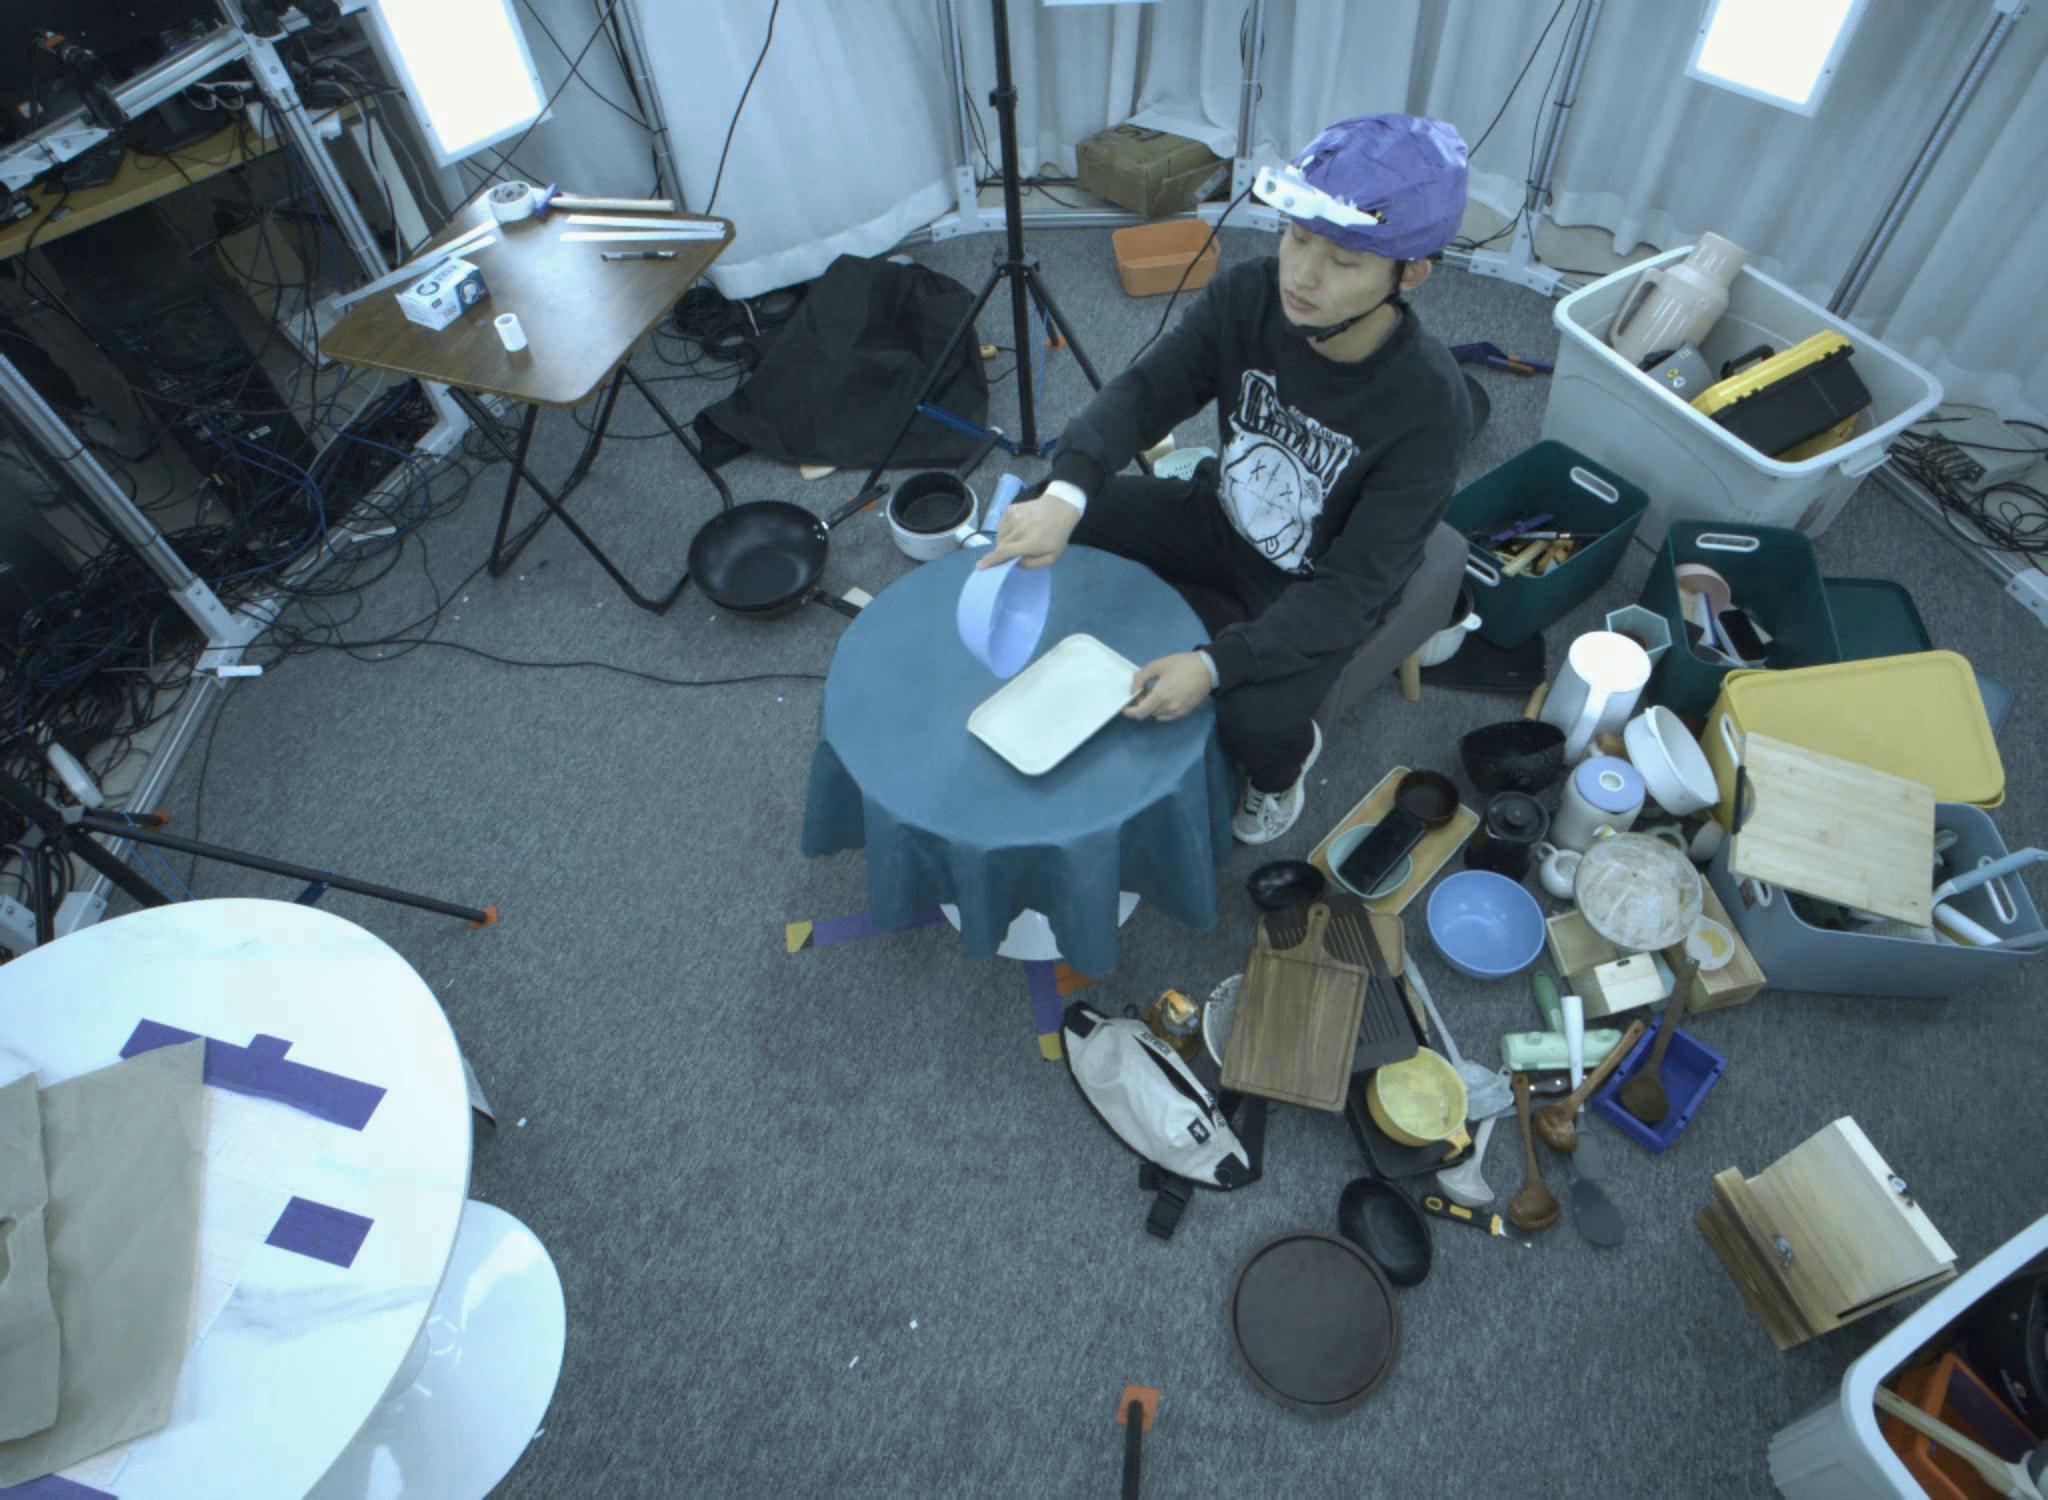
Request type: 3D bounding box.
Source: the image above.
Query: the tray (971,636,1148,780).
[{"bbox_3d":[0.053,-0.063,1.807,0.241,0.018,0.167,-40,55,-17],"label":"tray"}]

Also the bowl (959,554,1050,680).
[{"bbox_3d":[-0.033,-0.187,1.670,0.069,0.178,0.176,18,58,22],"label":"bowl"}]
